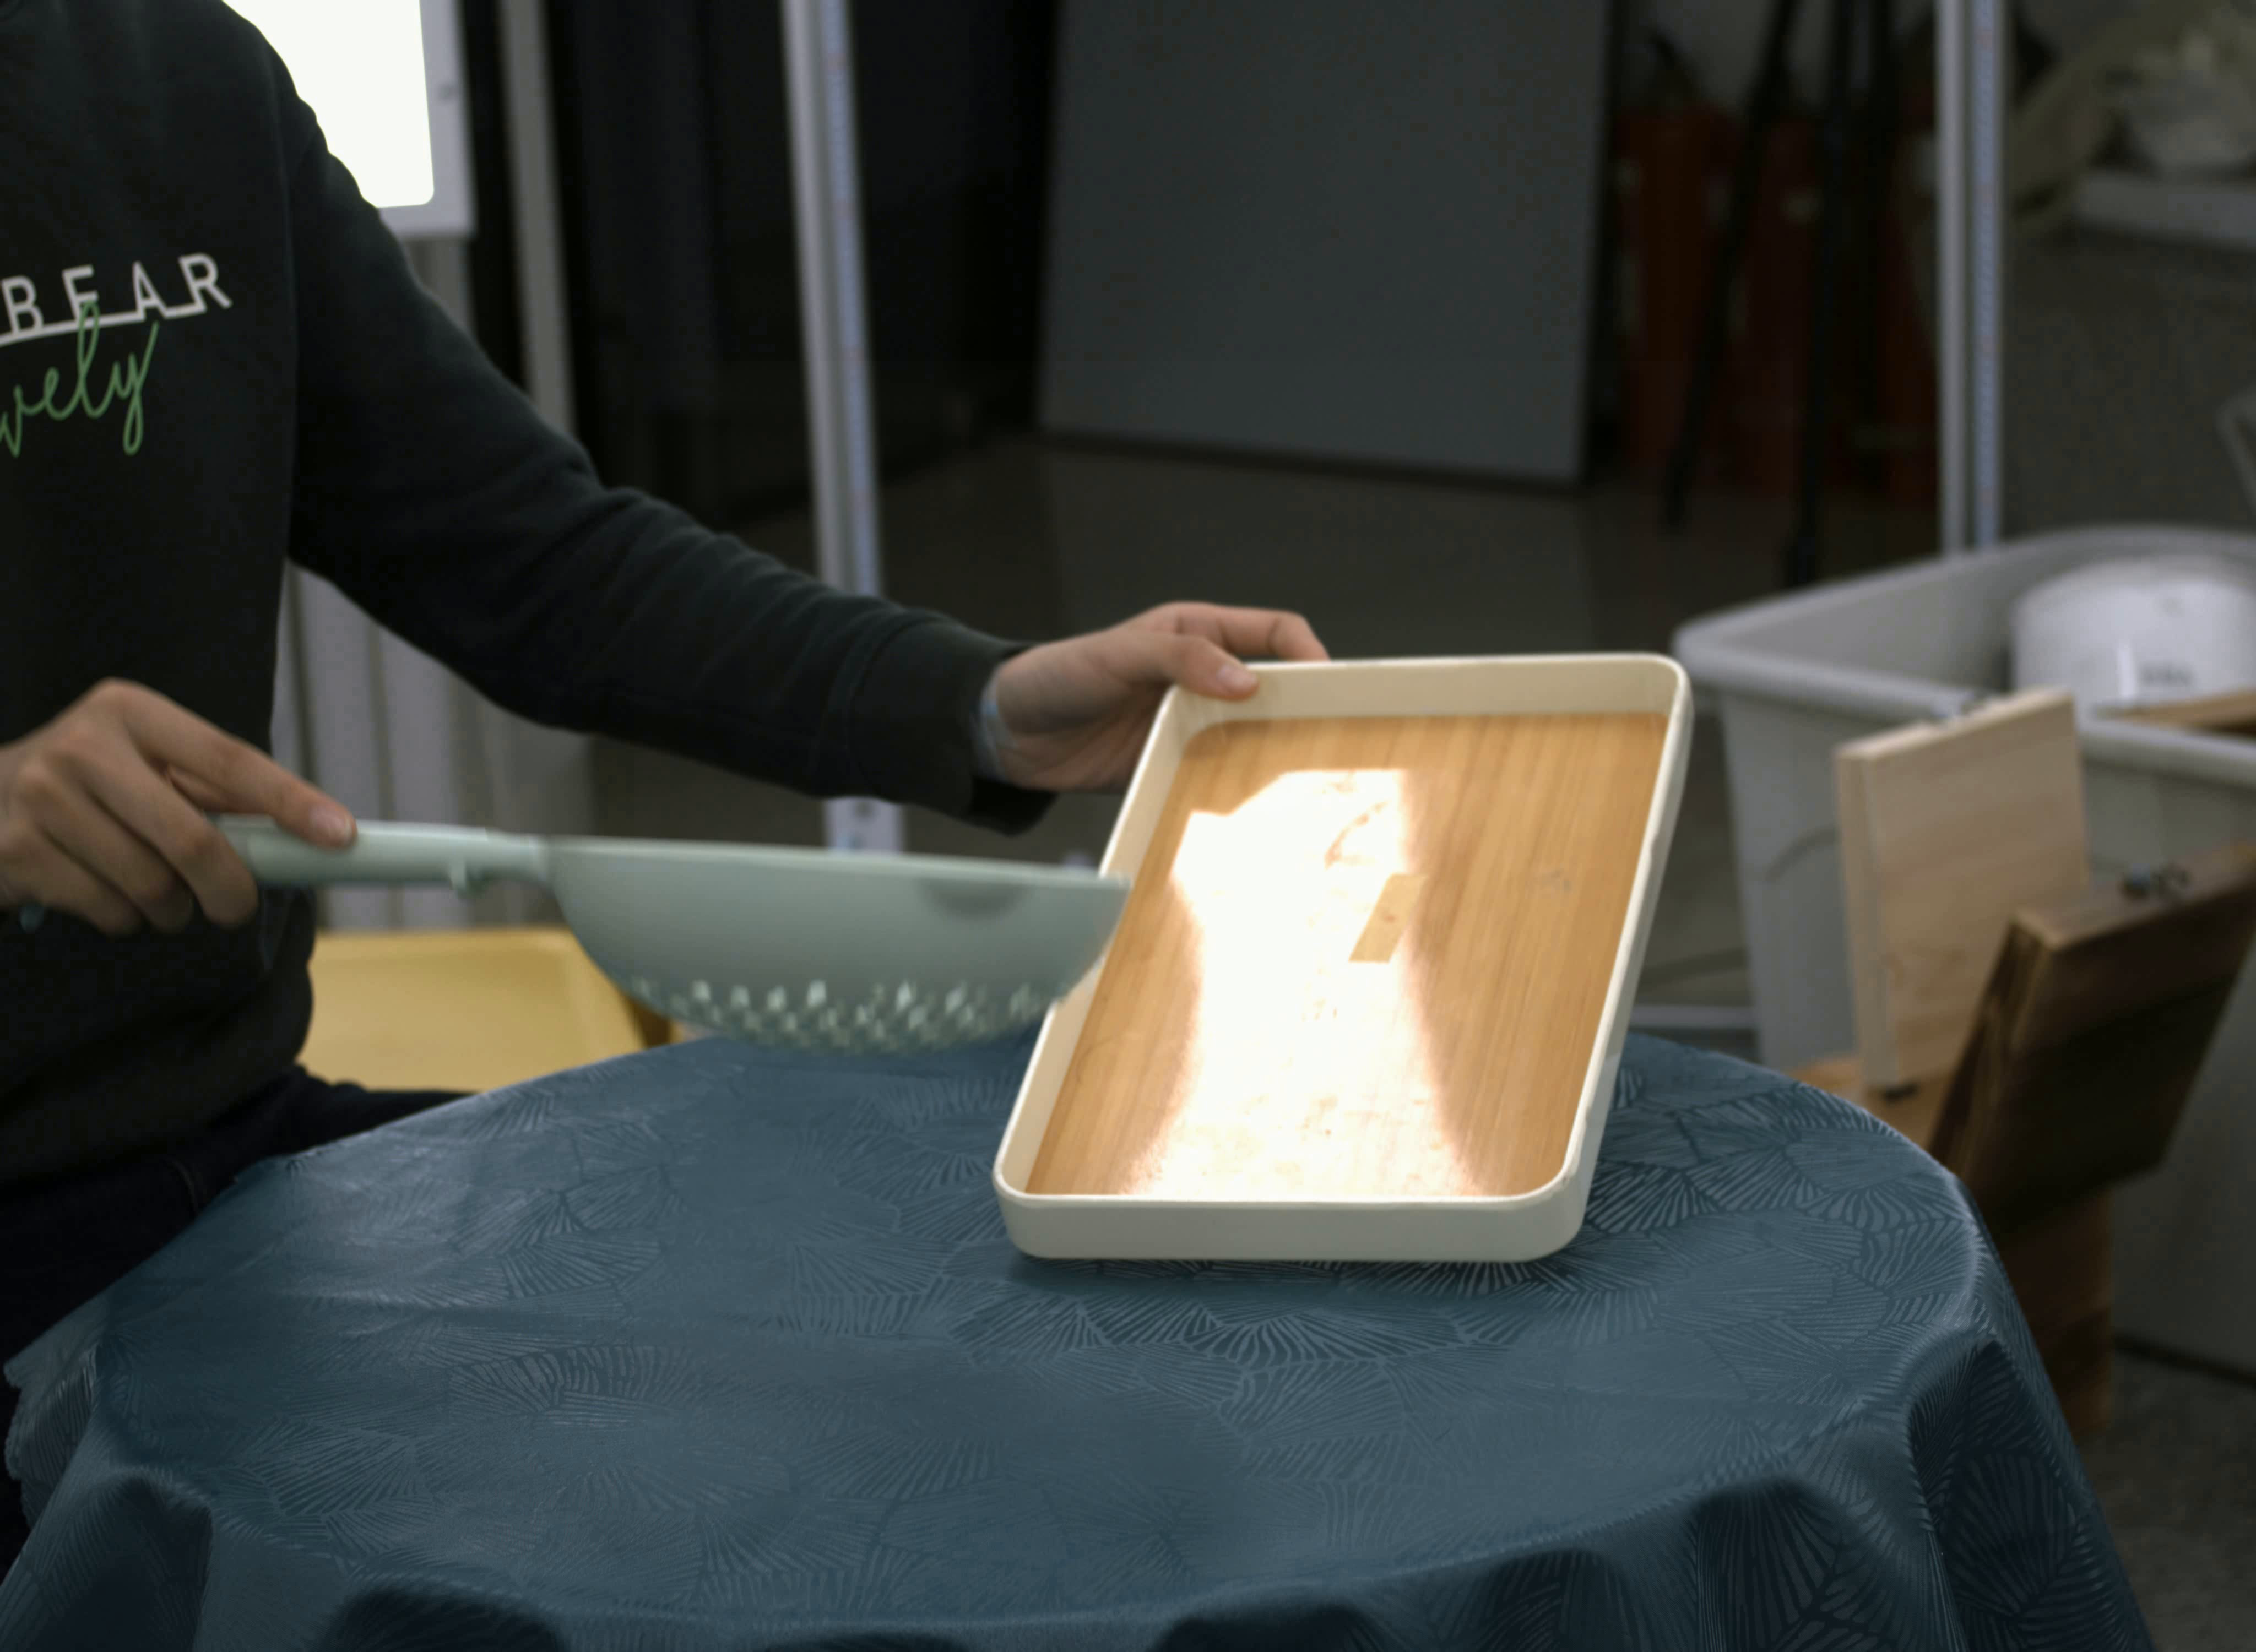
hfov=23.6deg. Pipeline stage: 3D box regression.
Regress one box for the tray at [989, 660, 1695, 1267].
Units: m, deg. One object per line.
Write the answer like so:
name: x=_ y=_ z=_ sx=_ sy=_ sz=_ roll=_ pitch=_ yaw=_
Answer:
tray: x=0.077 y=0.041 z=1.783 sx=0.191 sy=0.027 sz=0.300 roll=-2 pitch=35 yaw=18

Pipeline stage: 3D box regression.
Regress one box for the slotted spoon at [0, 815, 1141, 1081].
slotted spoon: x=-0.173 y=0.021 z=1.587 sx=0.358 sy=0.076 sz=0.167 roll=12 pitch=2 yaw=19
